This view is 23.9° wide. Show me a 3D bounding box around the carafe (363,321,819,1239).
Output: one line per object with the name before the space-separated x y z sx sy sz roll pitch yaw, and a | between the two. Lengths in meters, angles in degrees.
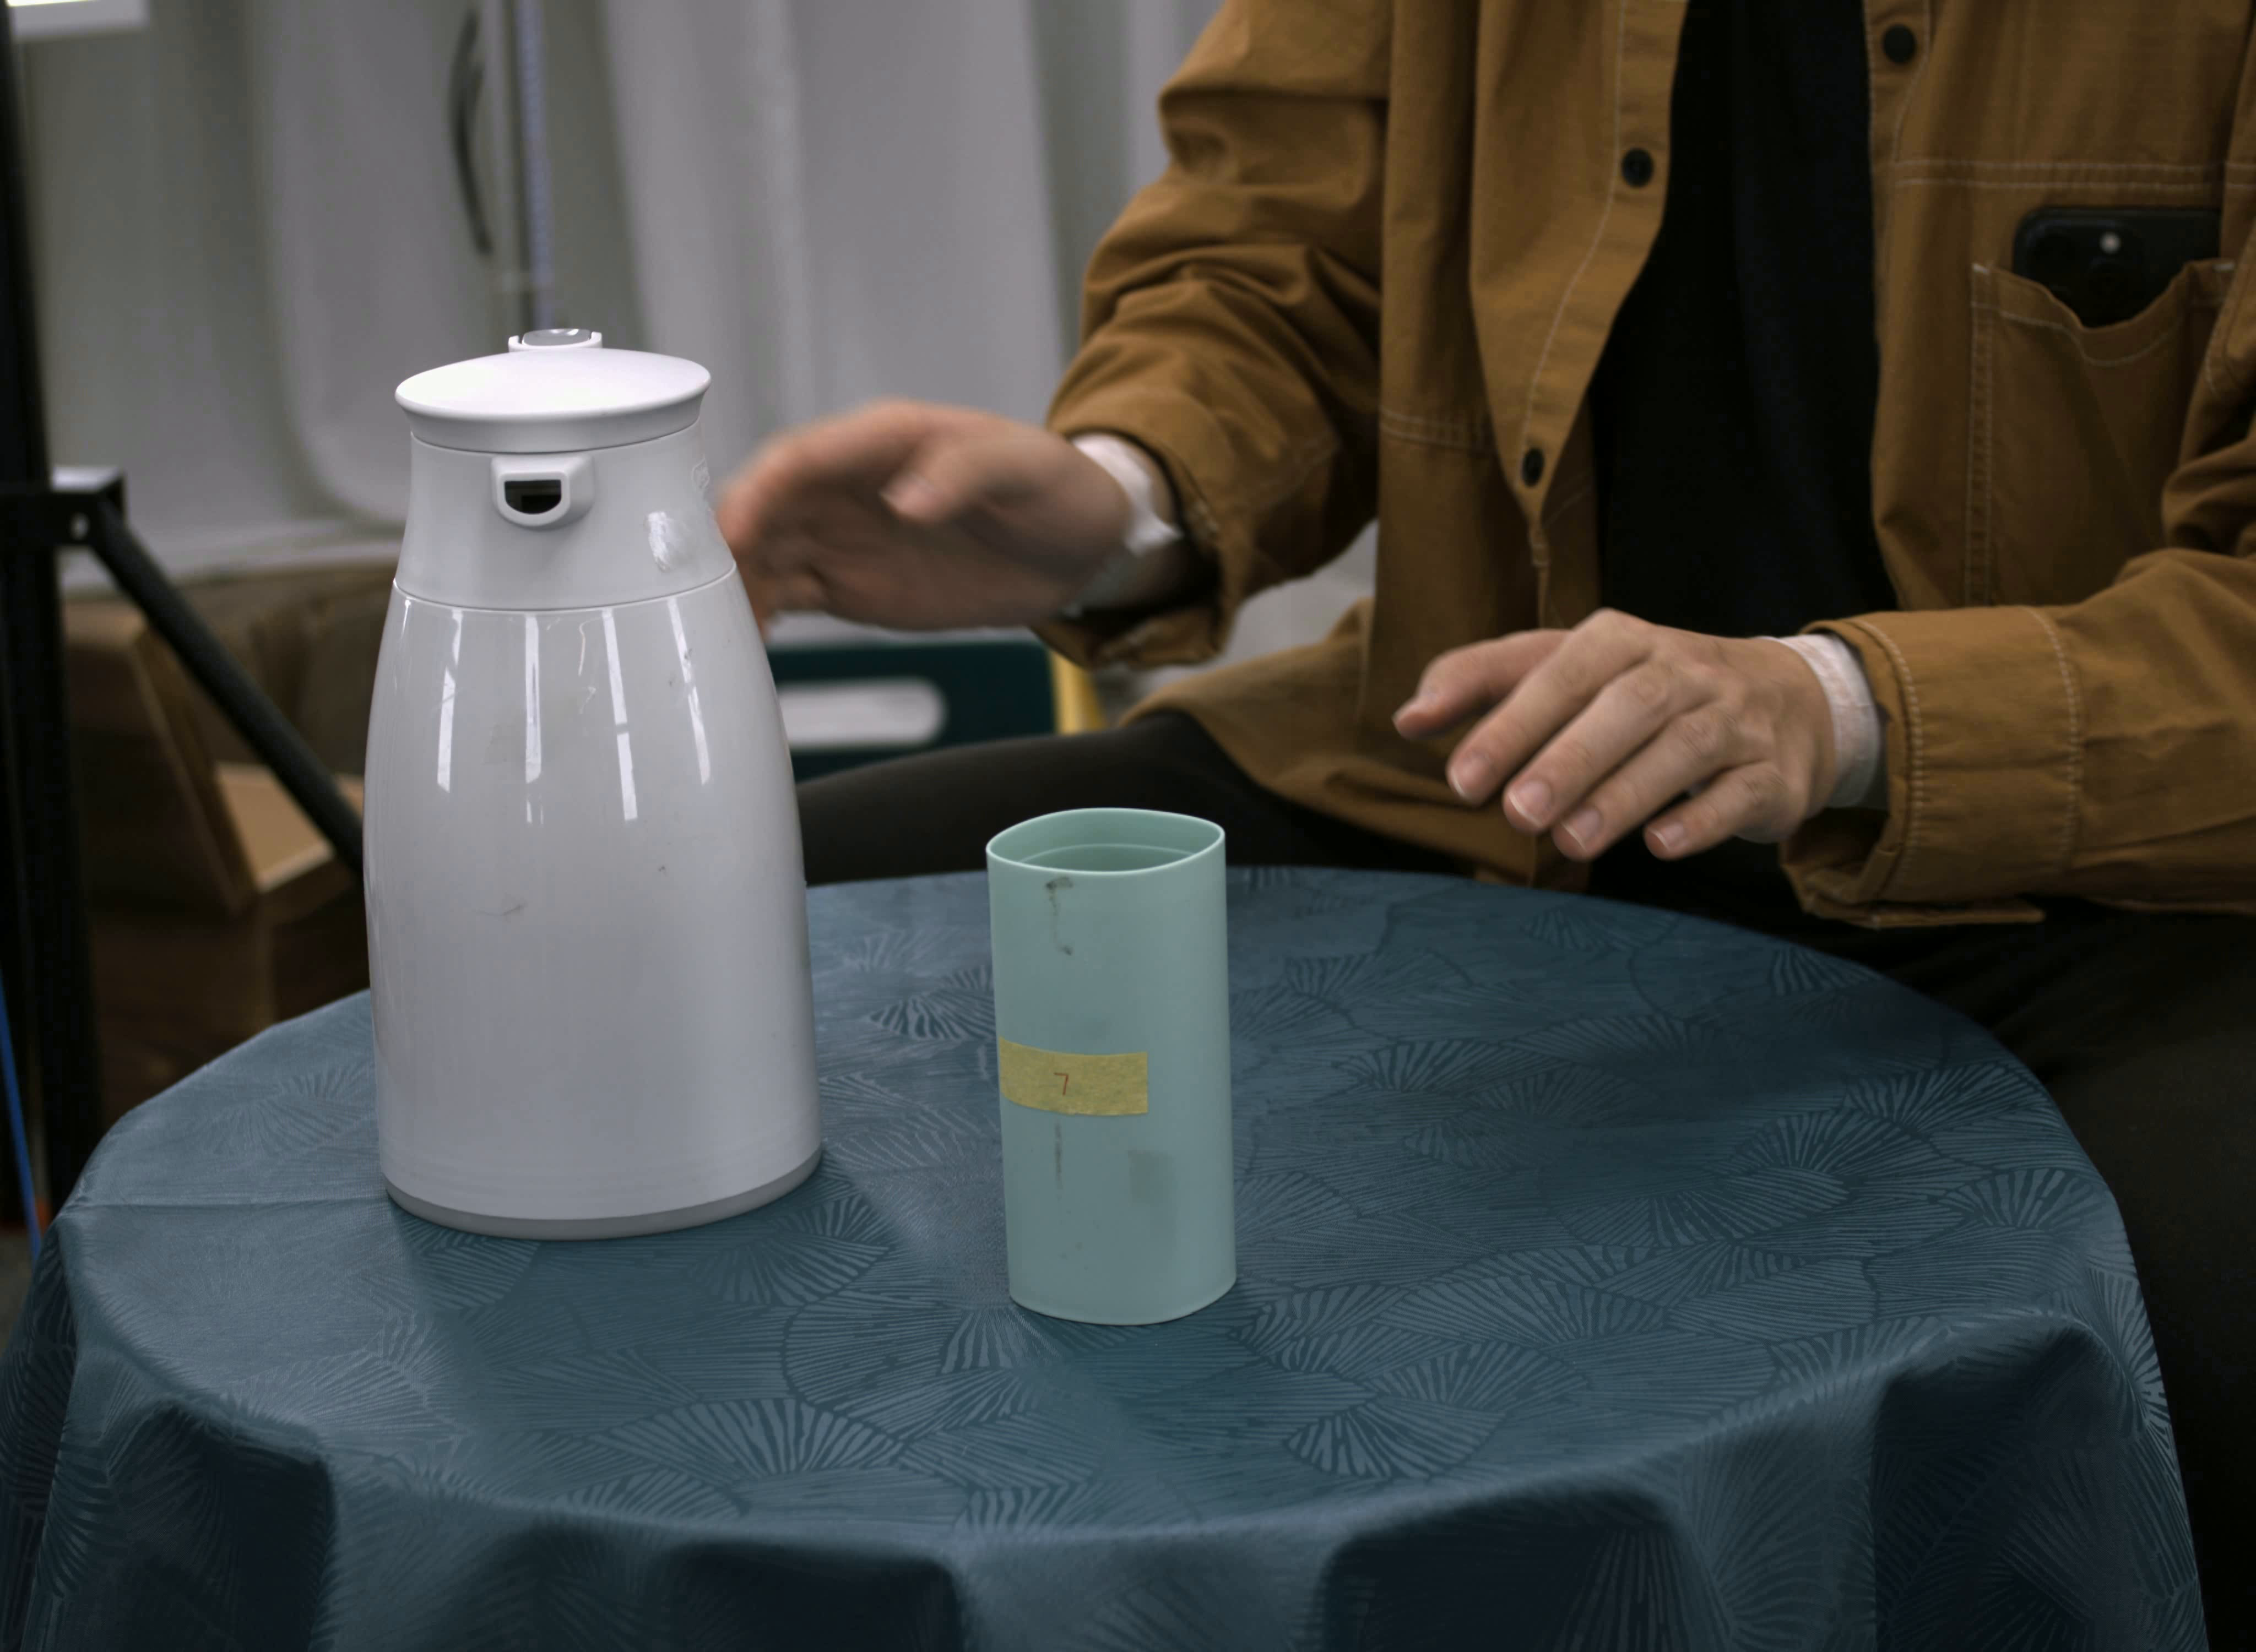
carafe | -0.163 -0.022 1.589 0.132 0.248 0.168 -2 14 1

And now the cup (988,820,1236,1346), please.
cup | -0.002 0.070 1.464 0.066 0.132 0.067 -2 15 -1
